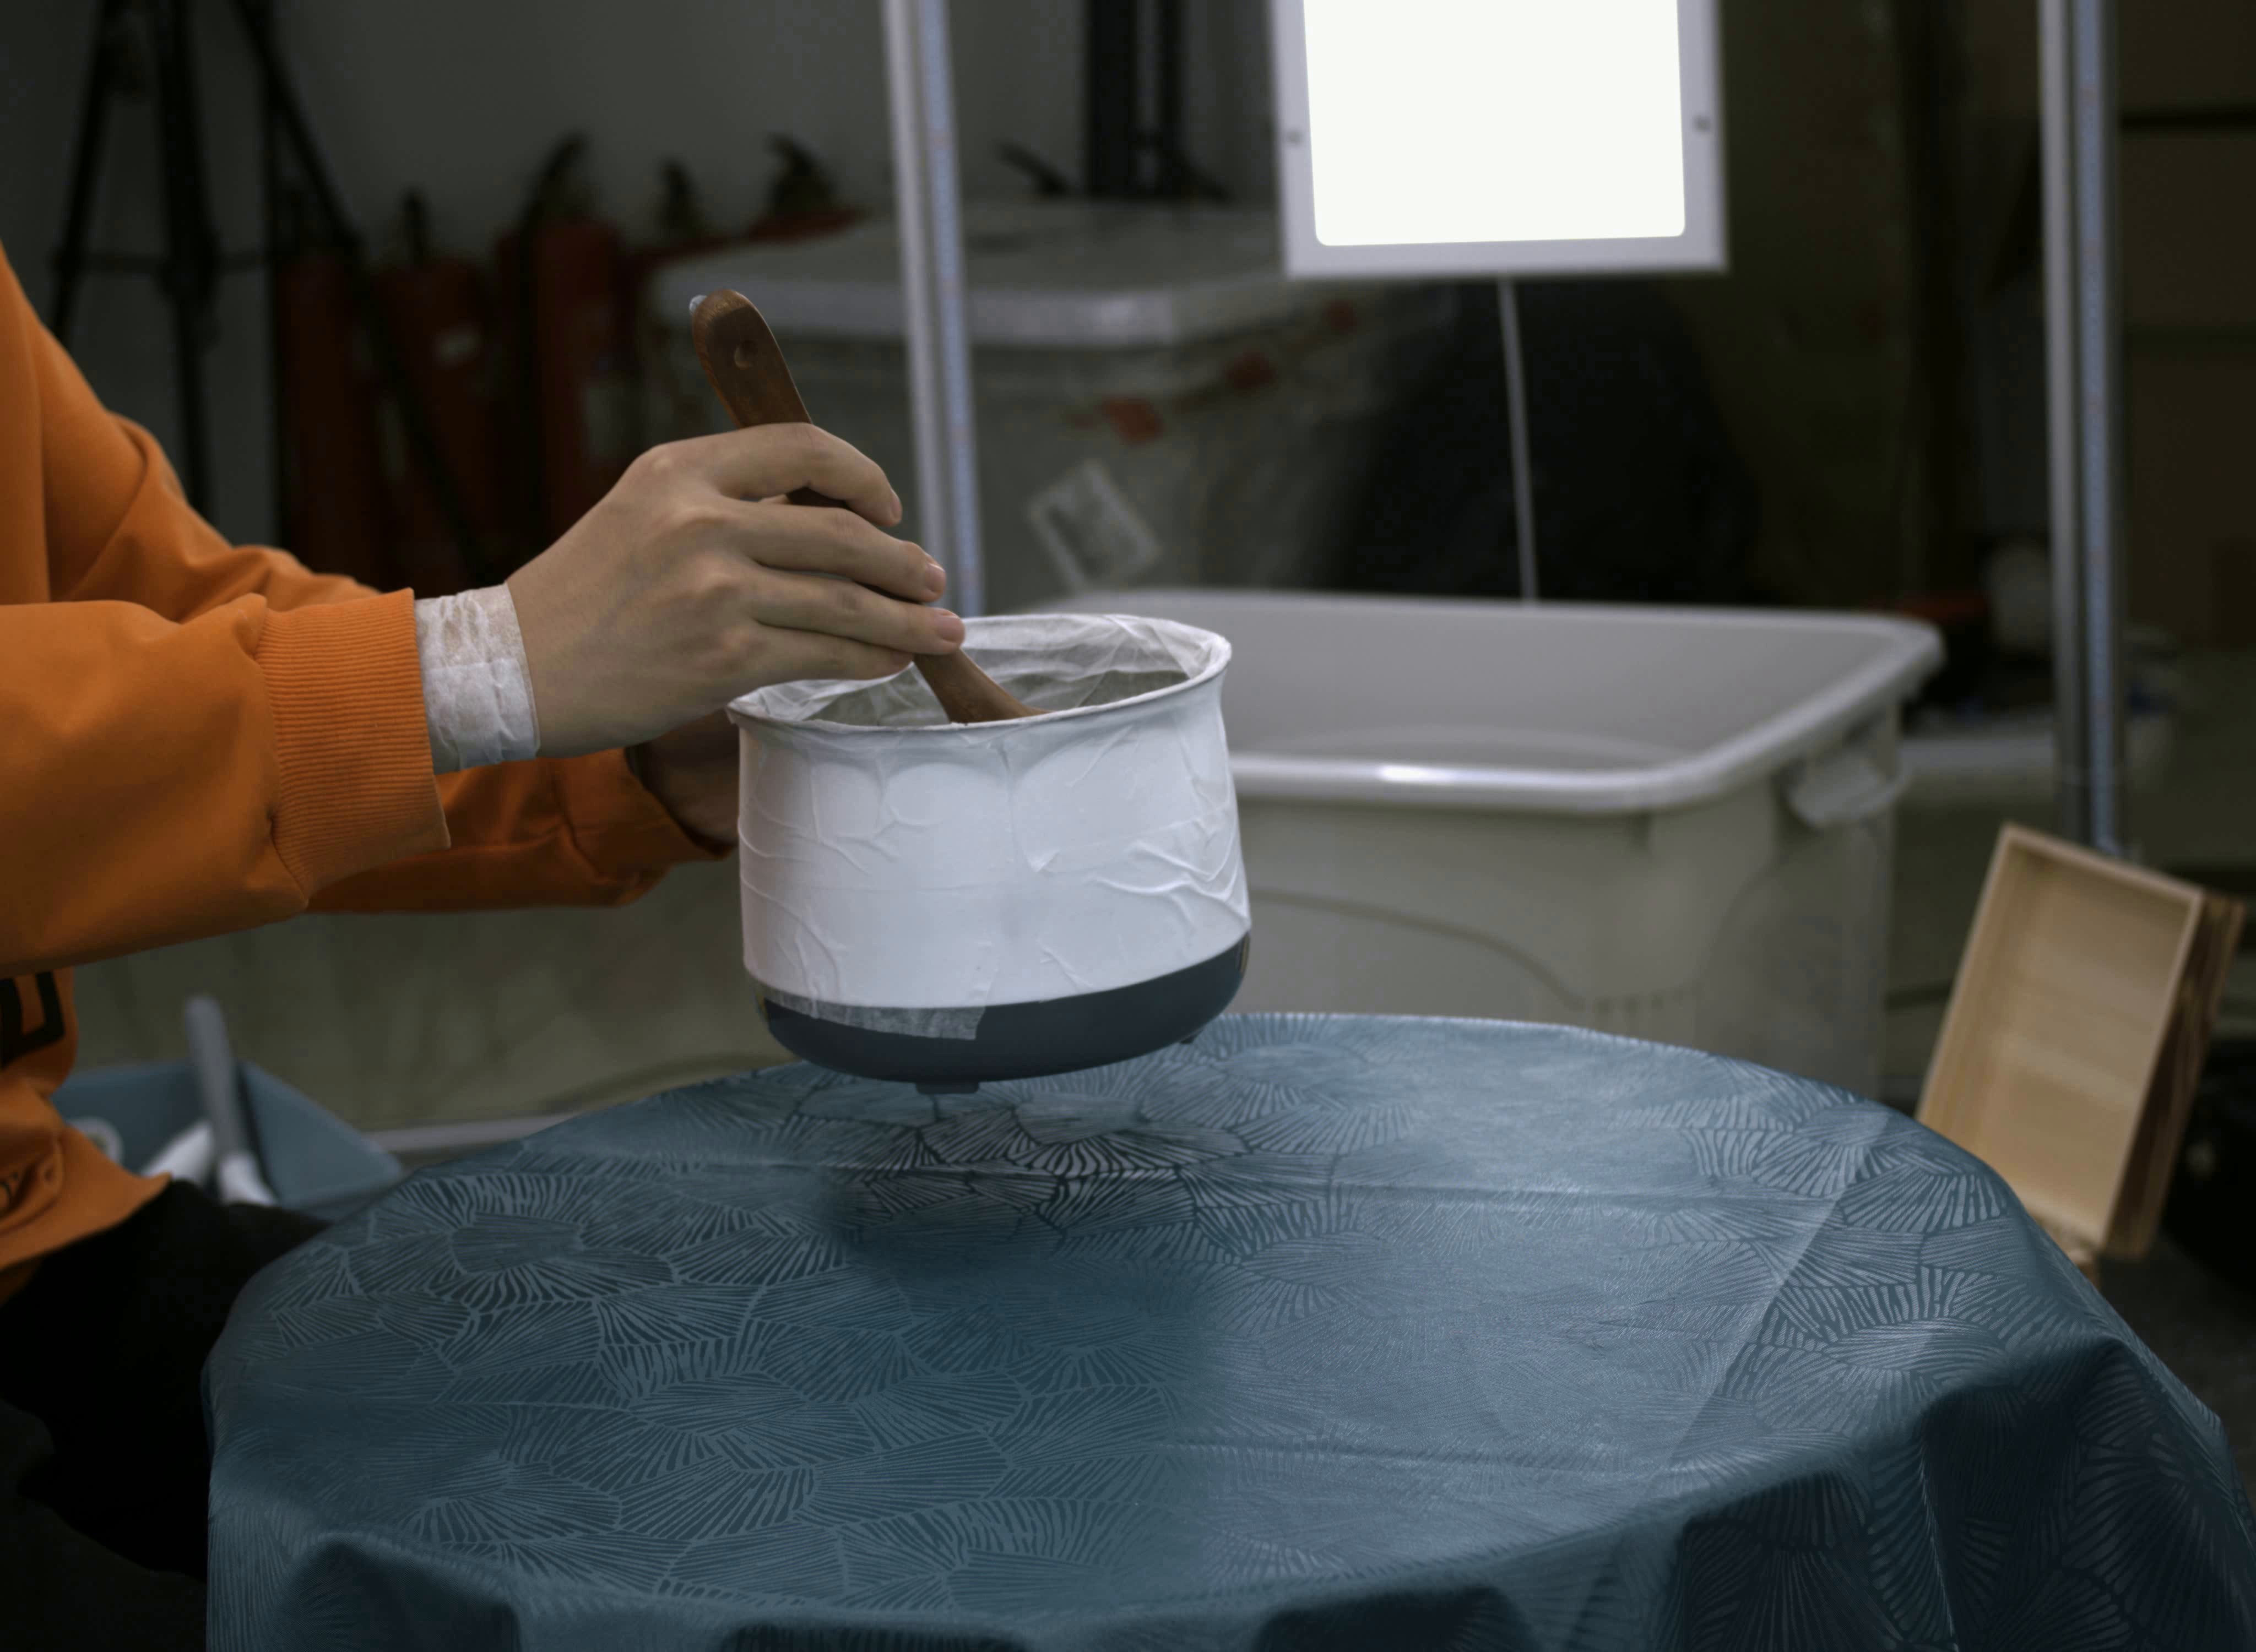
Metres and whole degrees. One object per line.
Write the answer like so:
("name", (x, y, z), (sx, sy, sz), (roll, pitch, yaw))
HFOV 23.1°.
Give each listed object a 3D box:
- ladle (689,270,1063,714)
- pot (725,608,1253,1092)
("ladle", (-0.088, -0.083, 1.857), (0.075, 0.258, 0.066), (-43, 28, -20))
("pot", (-0.061, 0.002, 1.927), (0.175, 0.137, 0.238), (-12, 15, -28))
